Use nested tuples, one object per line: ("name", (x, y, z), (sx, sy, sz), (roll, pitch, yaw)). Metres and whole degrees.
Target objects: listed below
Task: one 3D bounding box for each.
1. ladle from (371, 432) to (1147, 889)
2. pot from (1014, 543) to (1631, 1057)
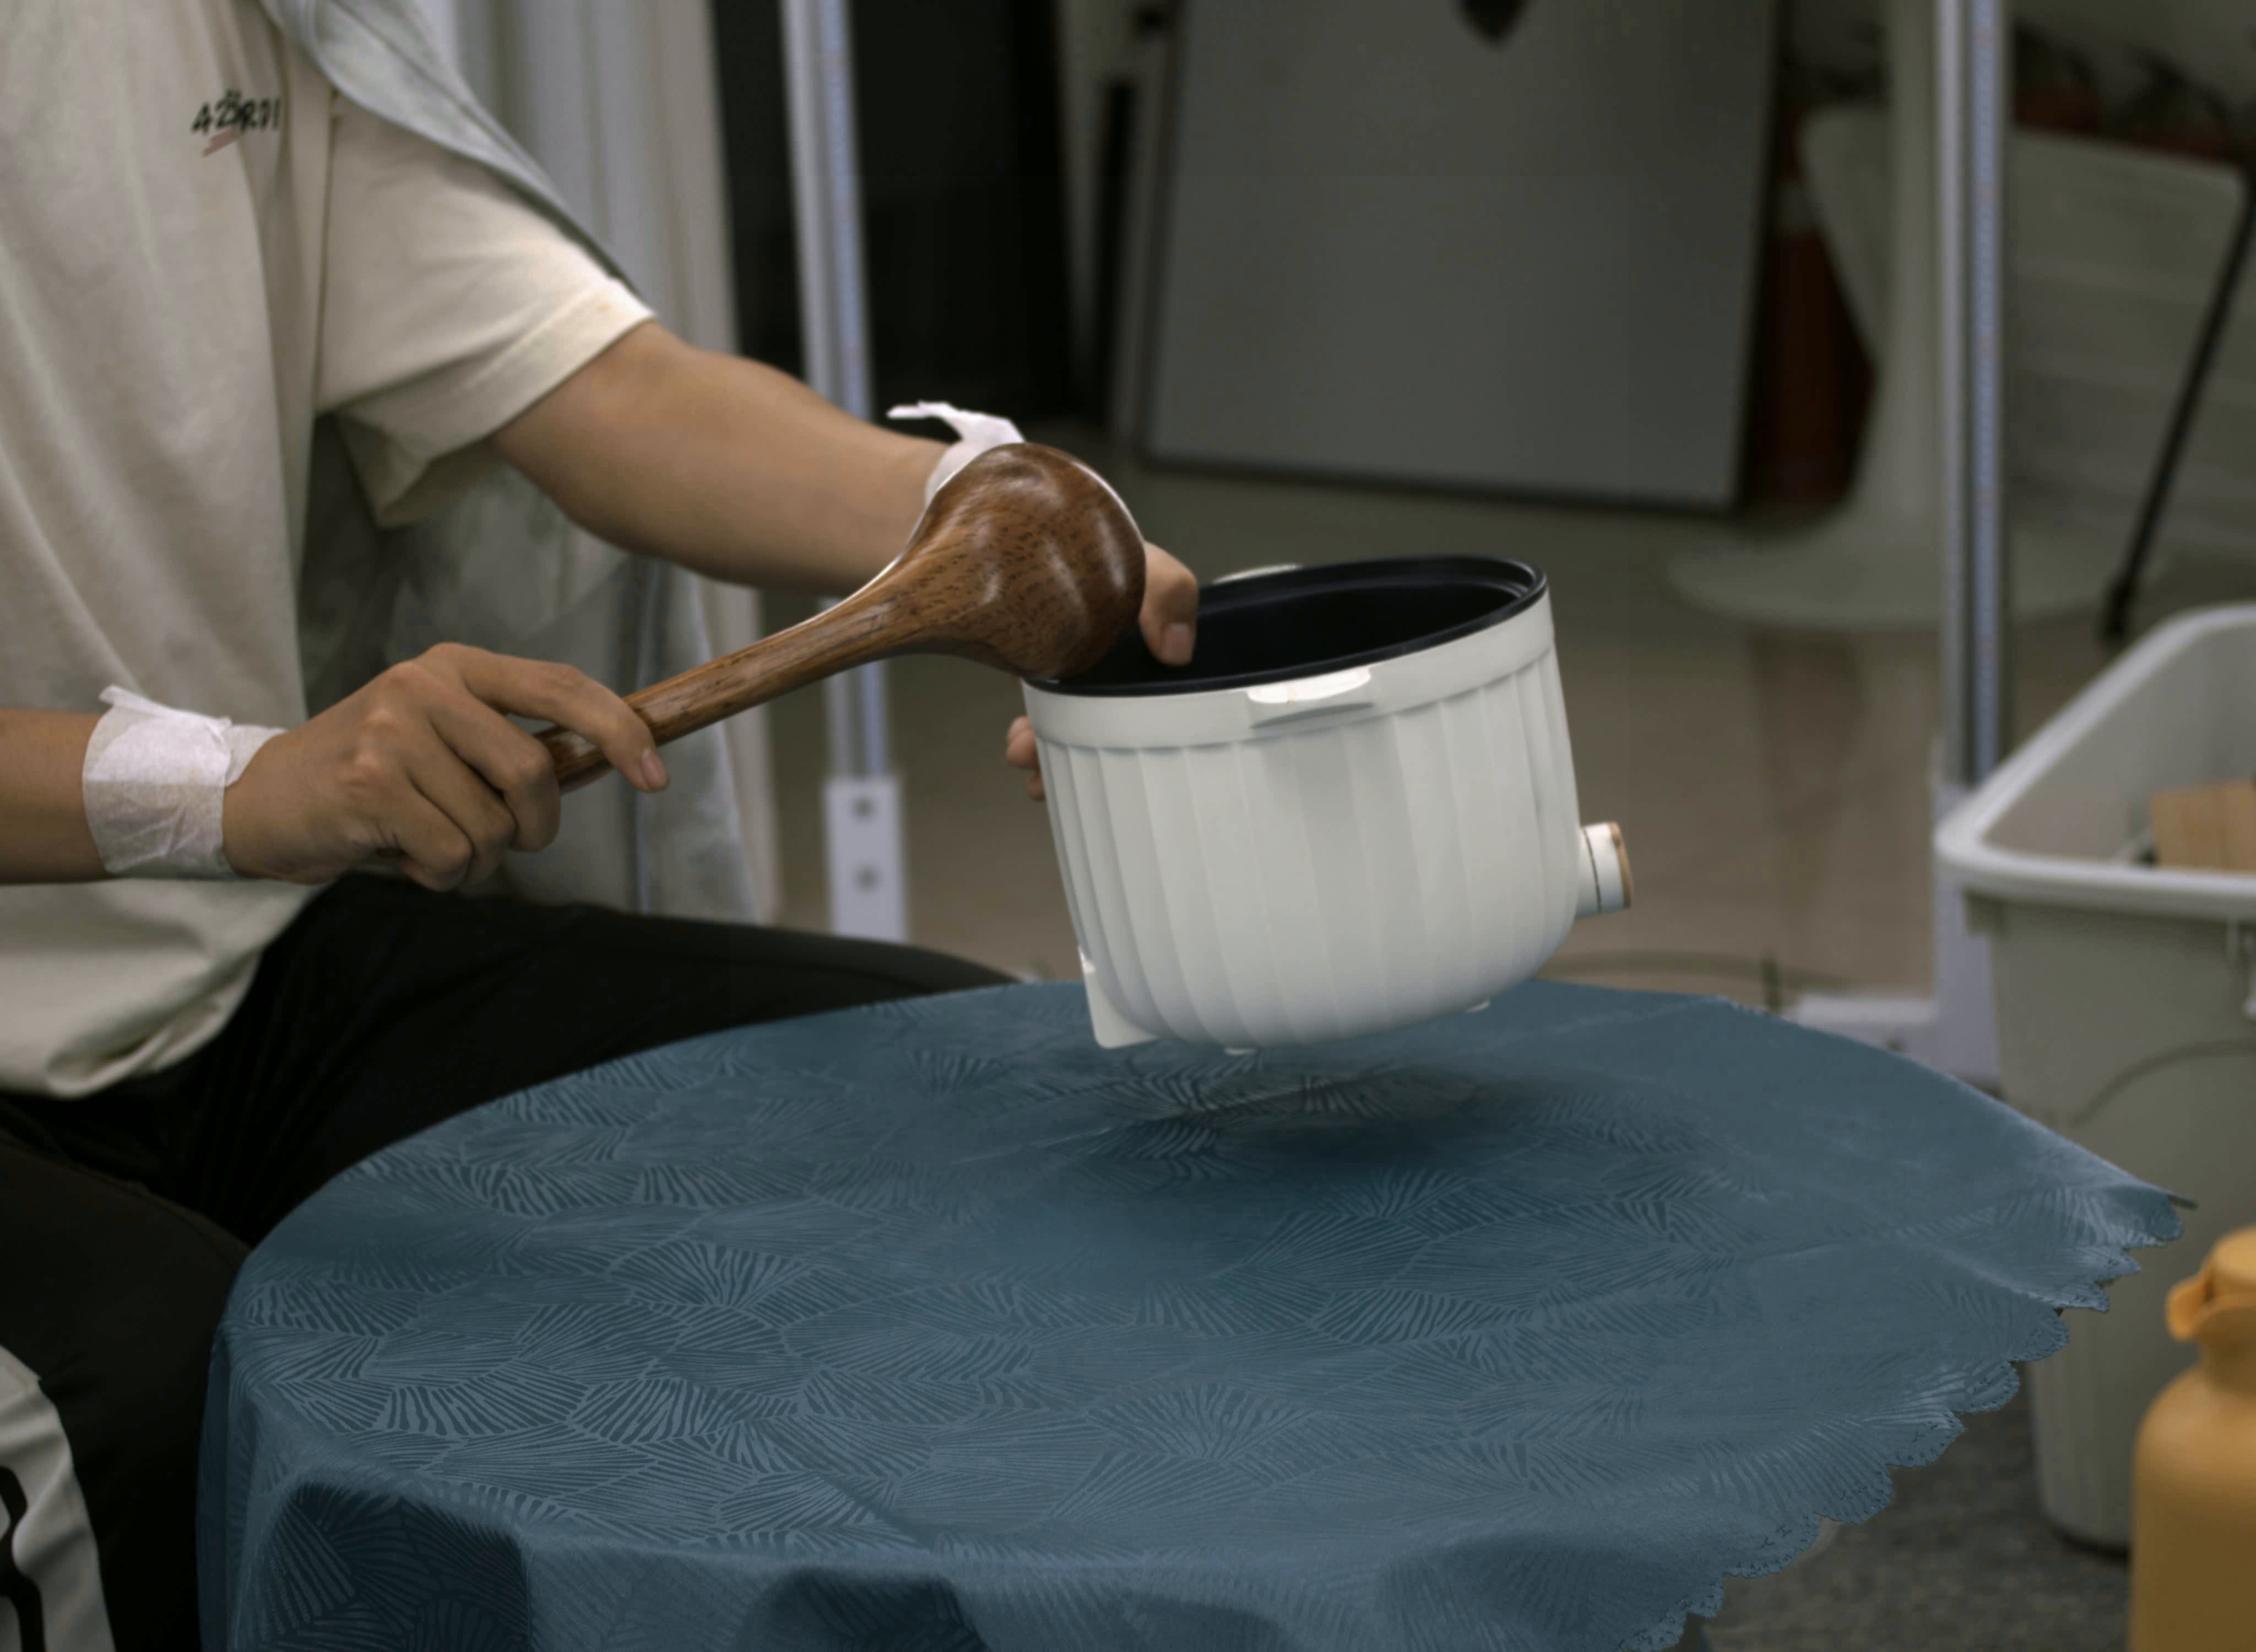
("ladle", (-0.122, -0.047, 1.794), (0.273, 0.083, 0.076), (-25, -10, 15))
("pot", (0.067, -0.008, 1.822), (0.188, 0.144, 0.241), (-14, 13, 0))
